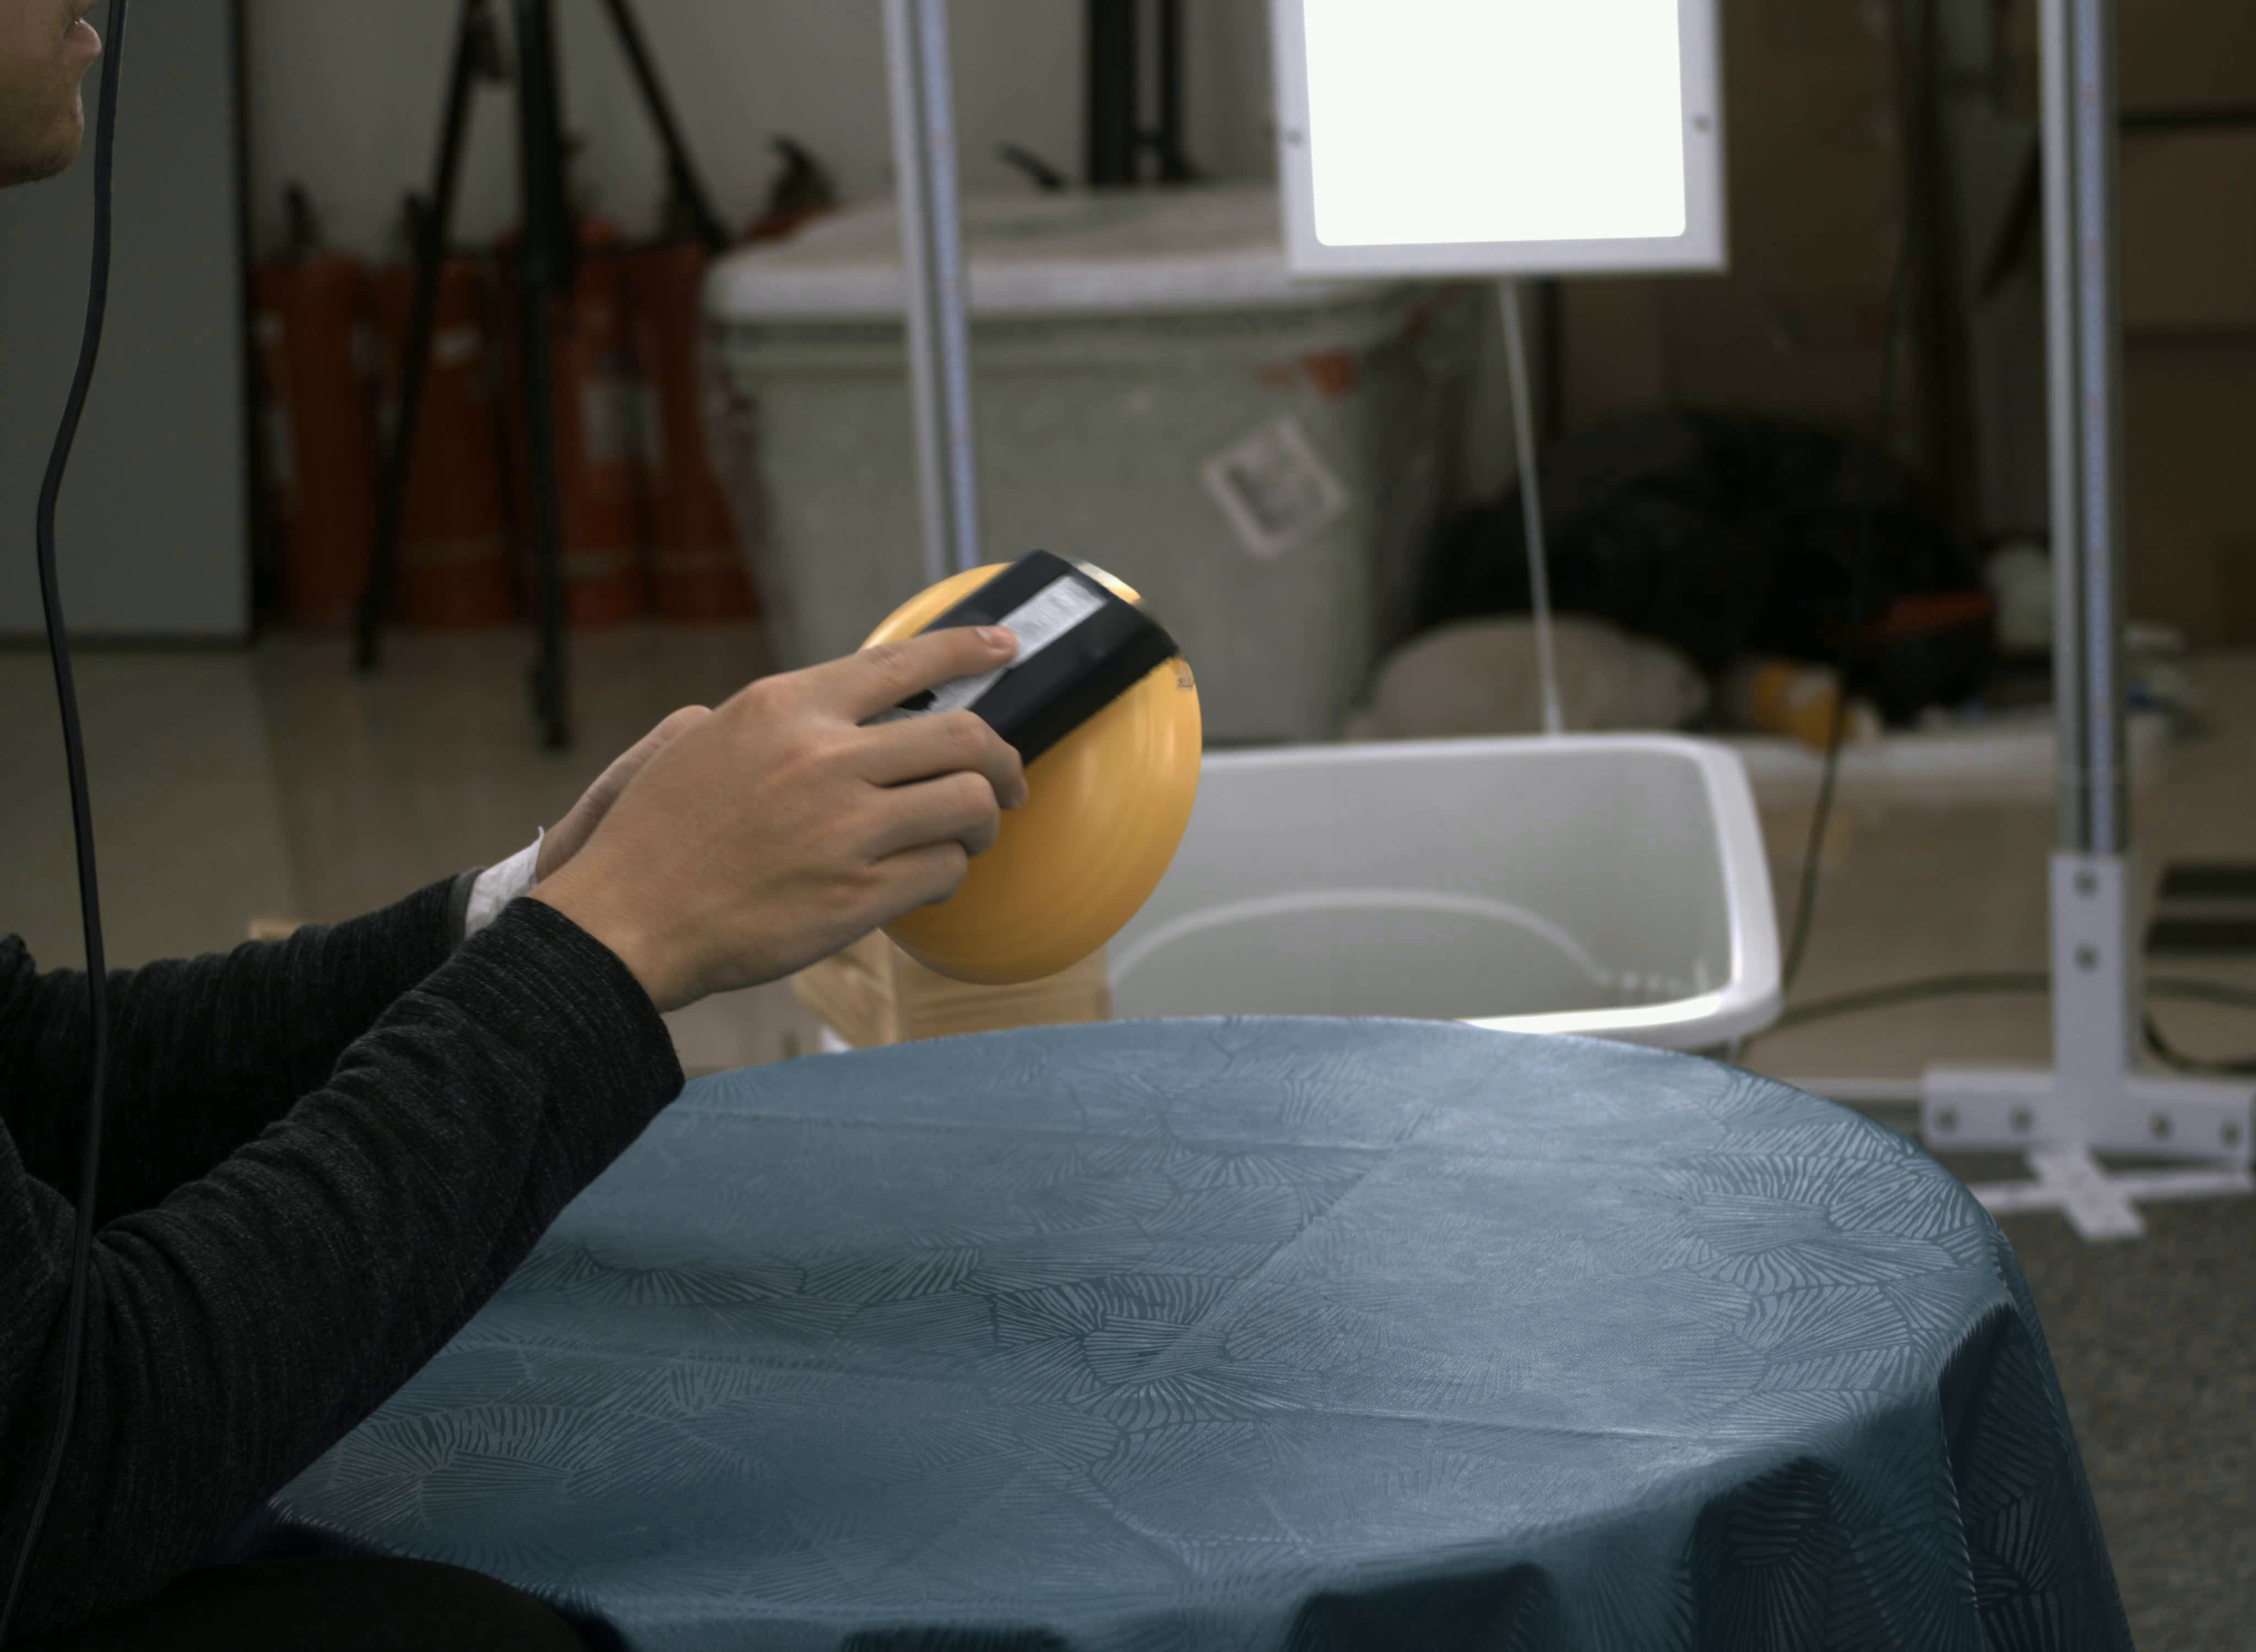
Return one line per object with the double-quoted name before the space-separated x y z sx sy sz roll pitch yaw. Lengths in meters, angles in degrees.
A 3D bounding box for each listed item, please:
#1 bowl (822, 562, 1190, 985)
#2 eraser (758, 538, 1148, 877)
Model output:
"bowl" -0.053 -0.025 1.797 0.148 0.145 0.059 7 -10 40
"eraser" -0.054 -0.039 1.735 0.054 0.030 0.123 37 62 27
